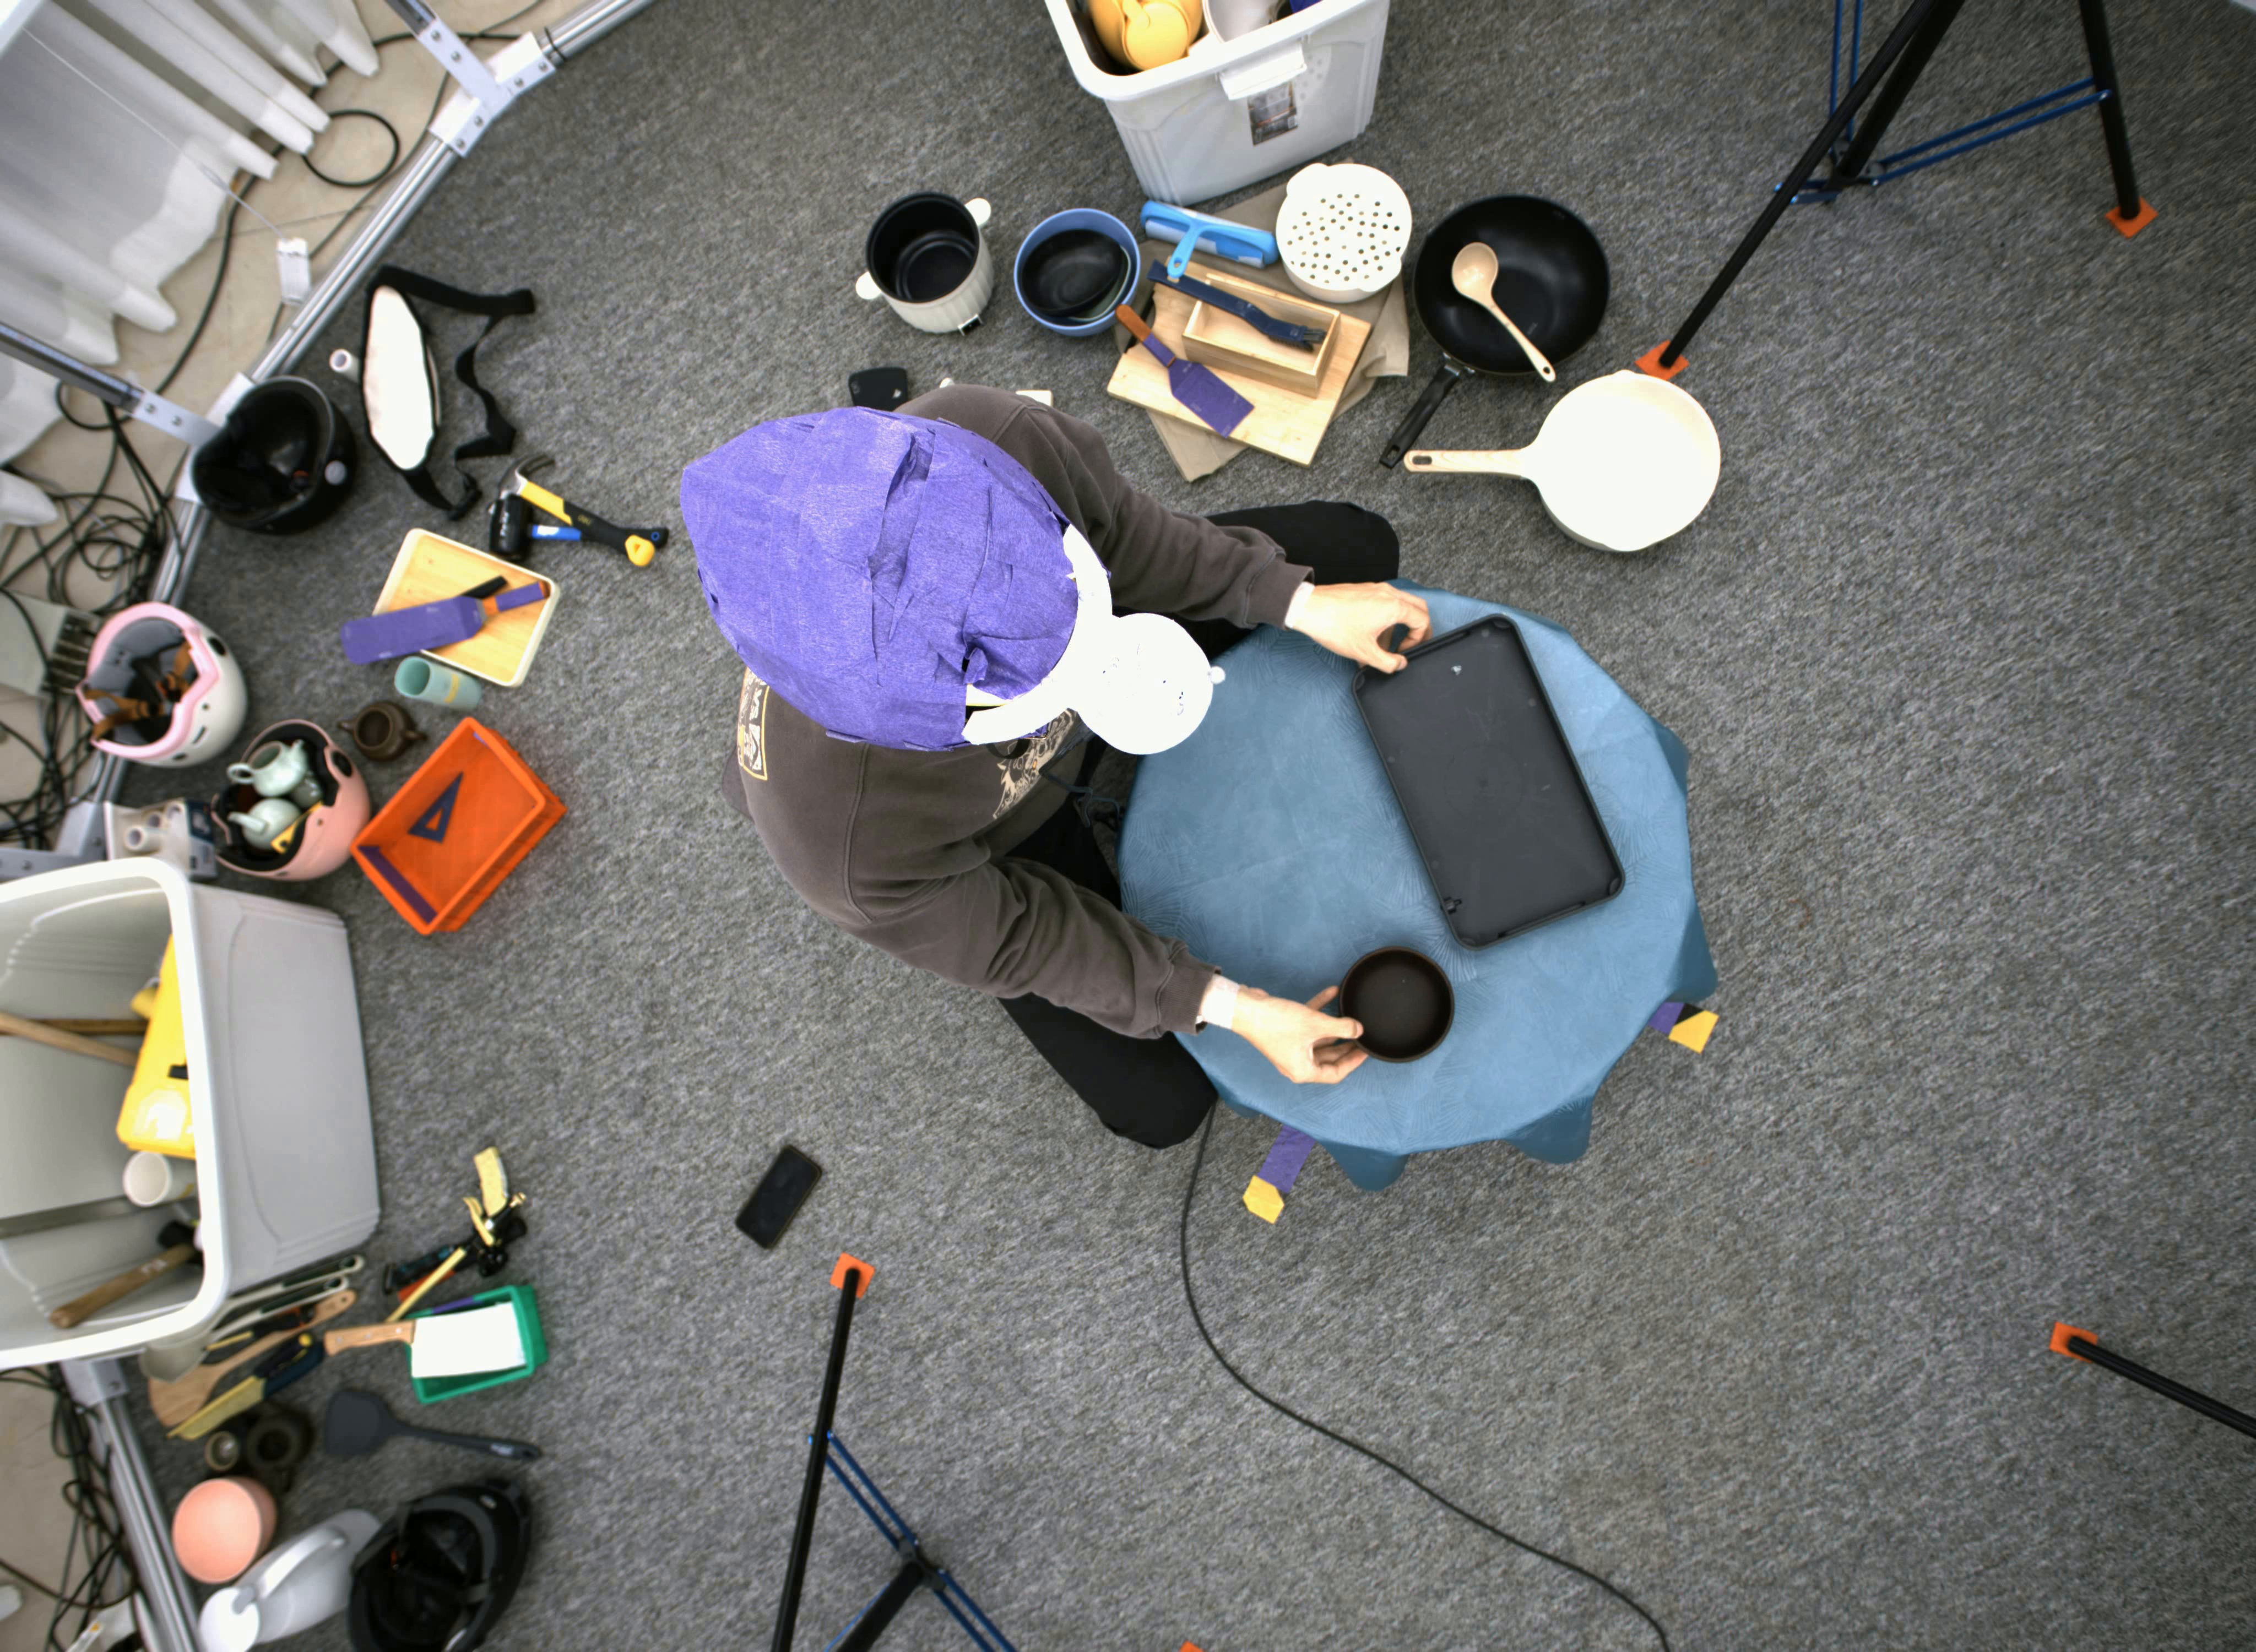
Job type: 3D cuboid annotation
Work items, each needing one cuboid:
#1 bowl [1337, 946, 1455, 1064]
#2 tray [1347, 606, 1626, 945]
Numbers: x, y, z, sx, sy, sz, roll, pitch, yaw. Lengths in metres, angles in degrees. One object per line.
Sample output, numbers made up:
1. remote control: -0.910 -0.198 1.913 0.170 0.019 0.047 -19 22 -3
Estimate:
1. bowl: 0.275 0.182 1.414 0.118 0.070 0.117 -2 83 14
2. tray: 0.368 -0.054 1.422 0.185 0.037 0.317 -24 86 9
